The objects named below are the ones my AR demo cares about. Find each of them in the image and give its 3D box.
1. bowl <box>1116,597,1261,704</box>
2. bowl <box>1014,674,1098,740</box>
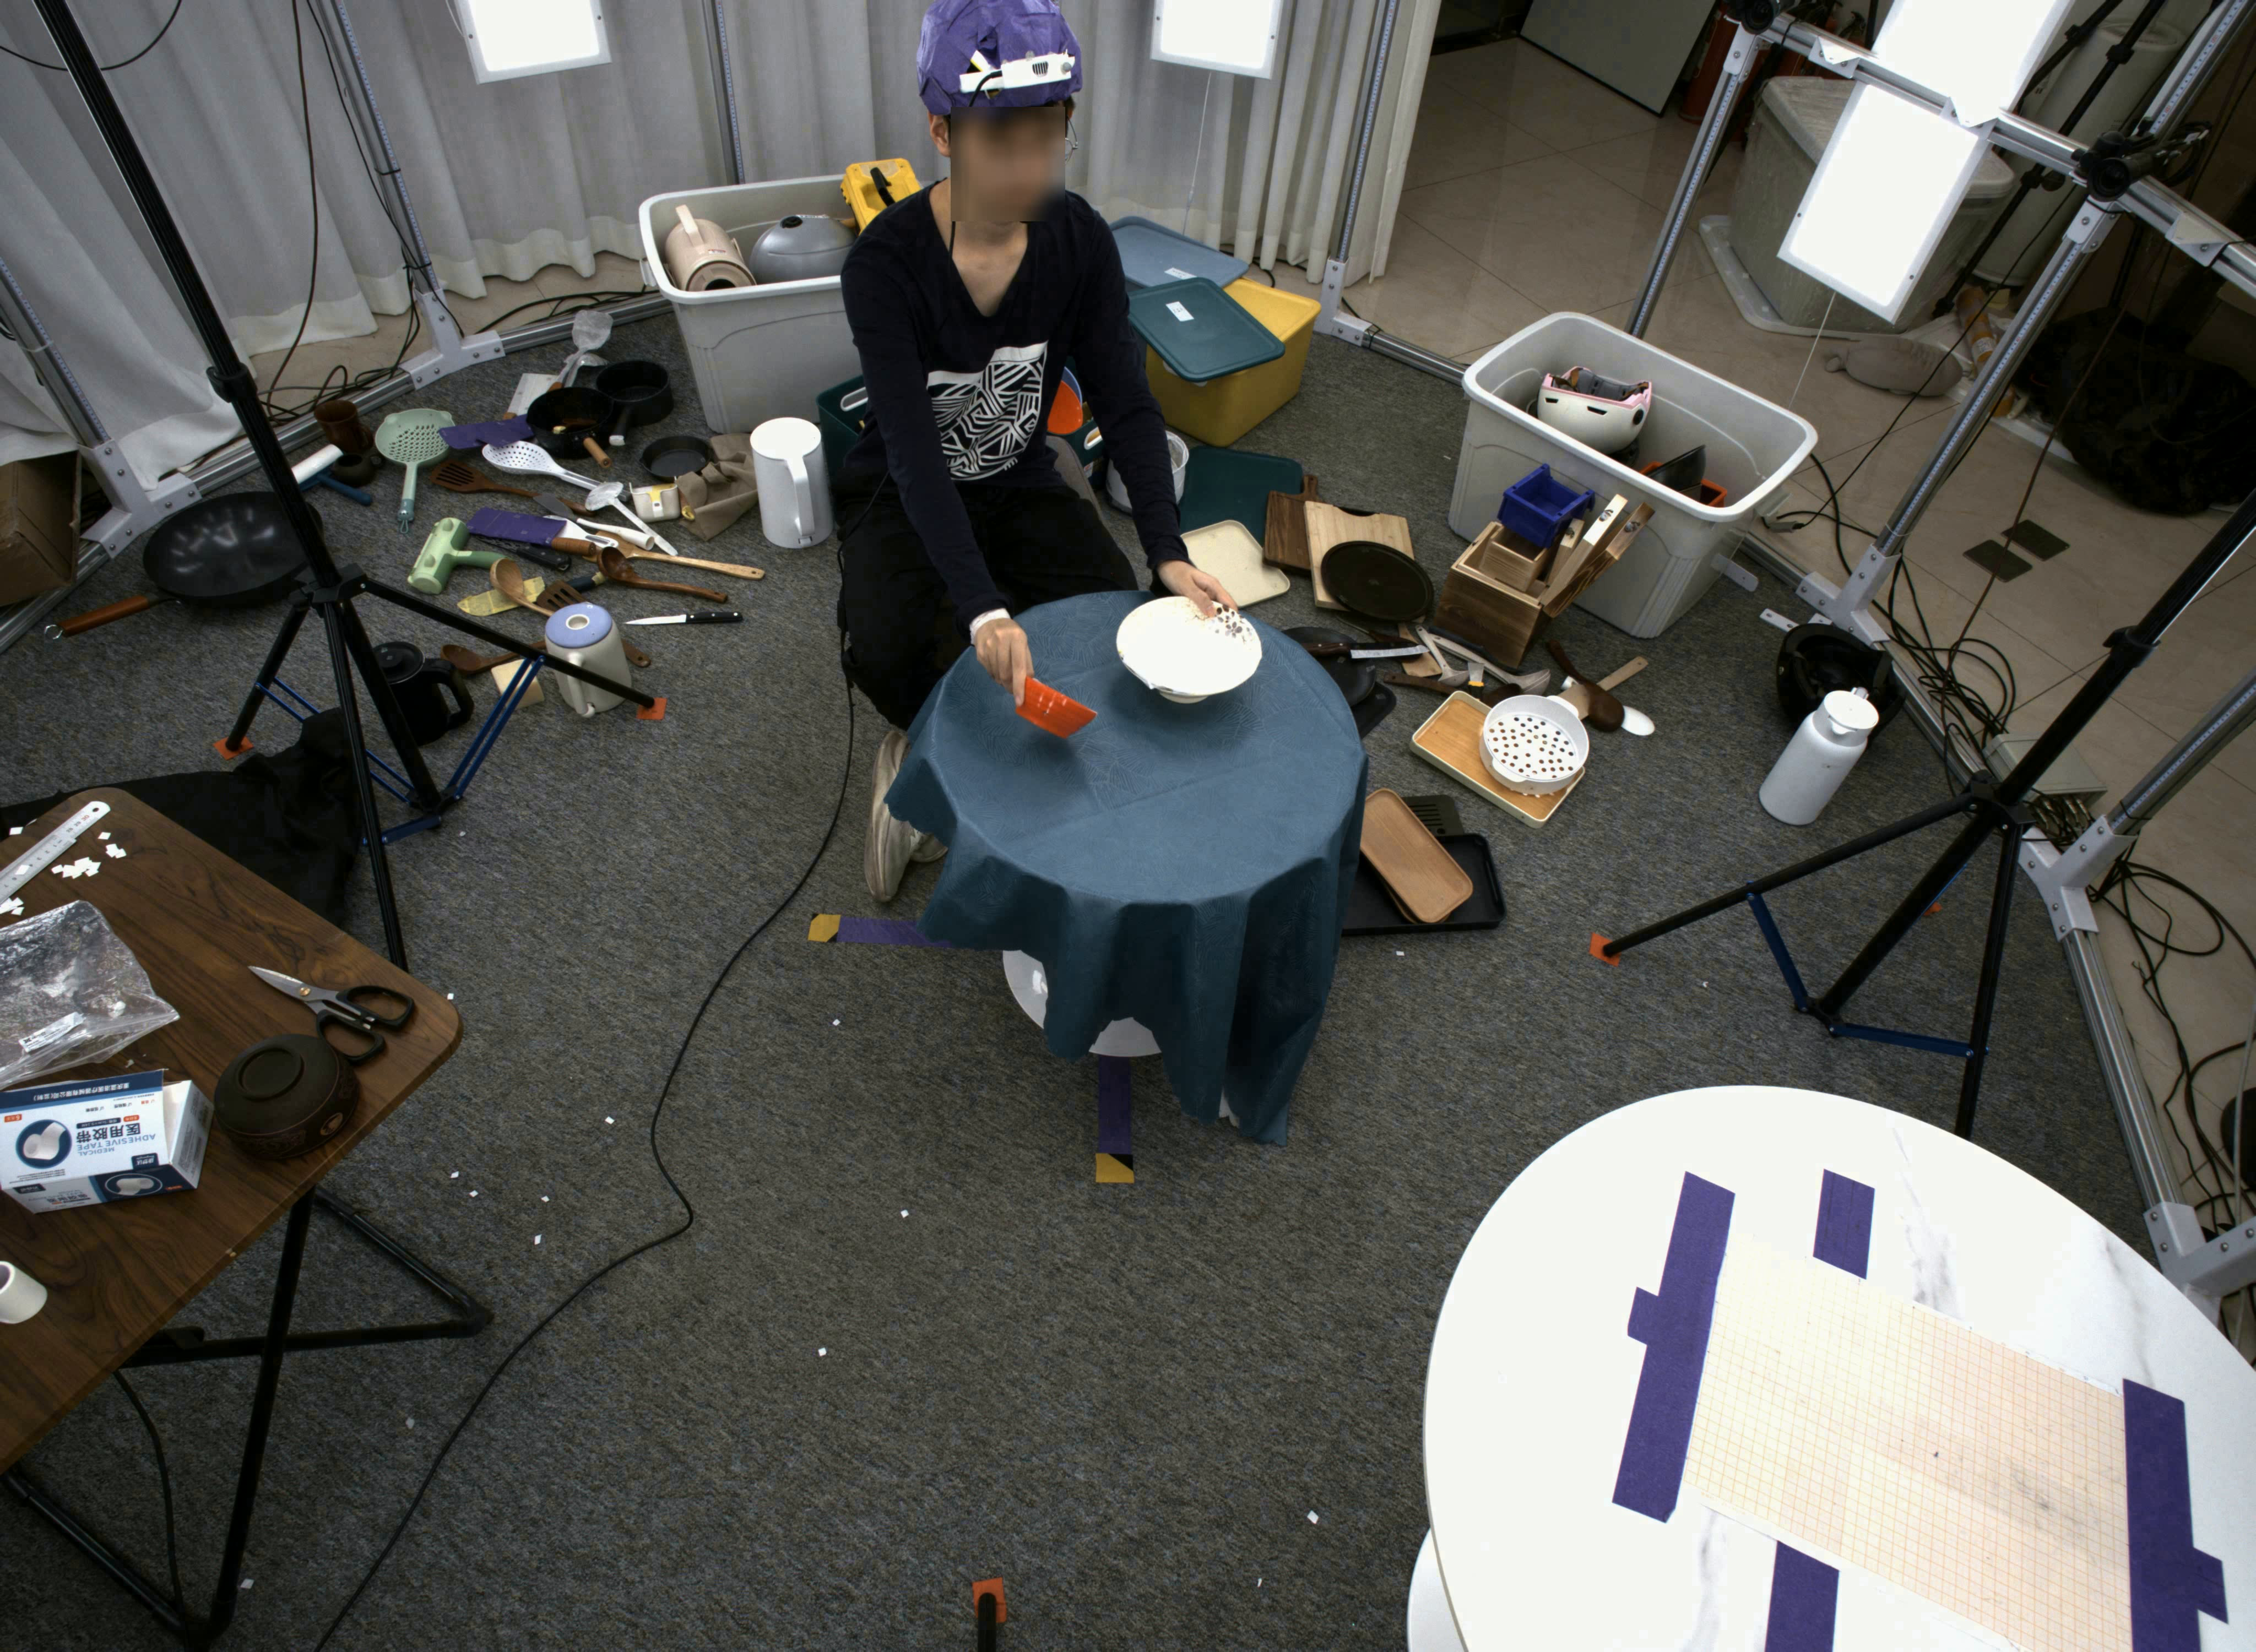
[{"bbox_3d":[0.083,-0.231,1.824,0.204,0.076,0.209,2,48,-3],"label":"bowl"},{"bbox_3d":[-0.103,-0.153,1.703,0.118,0.051,0.120,26,10,-5],"label":"bowl"}]
